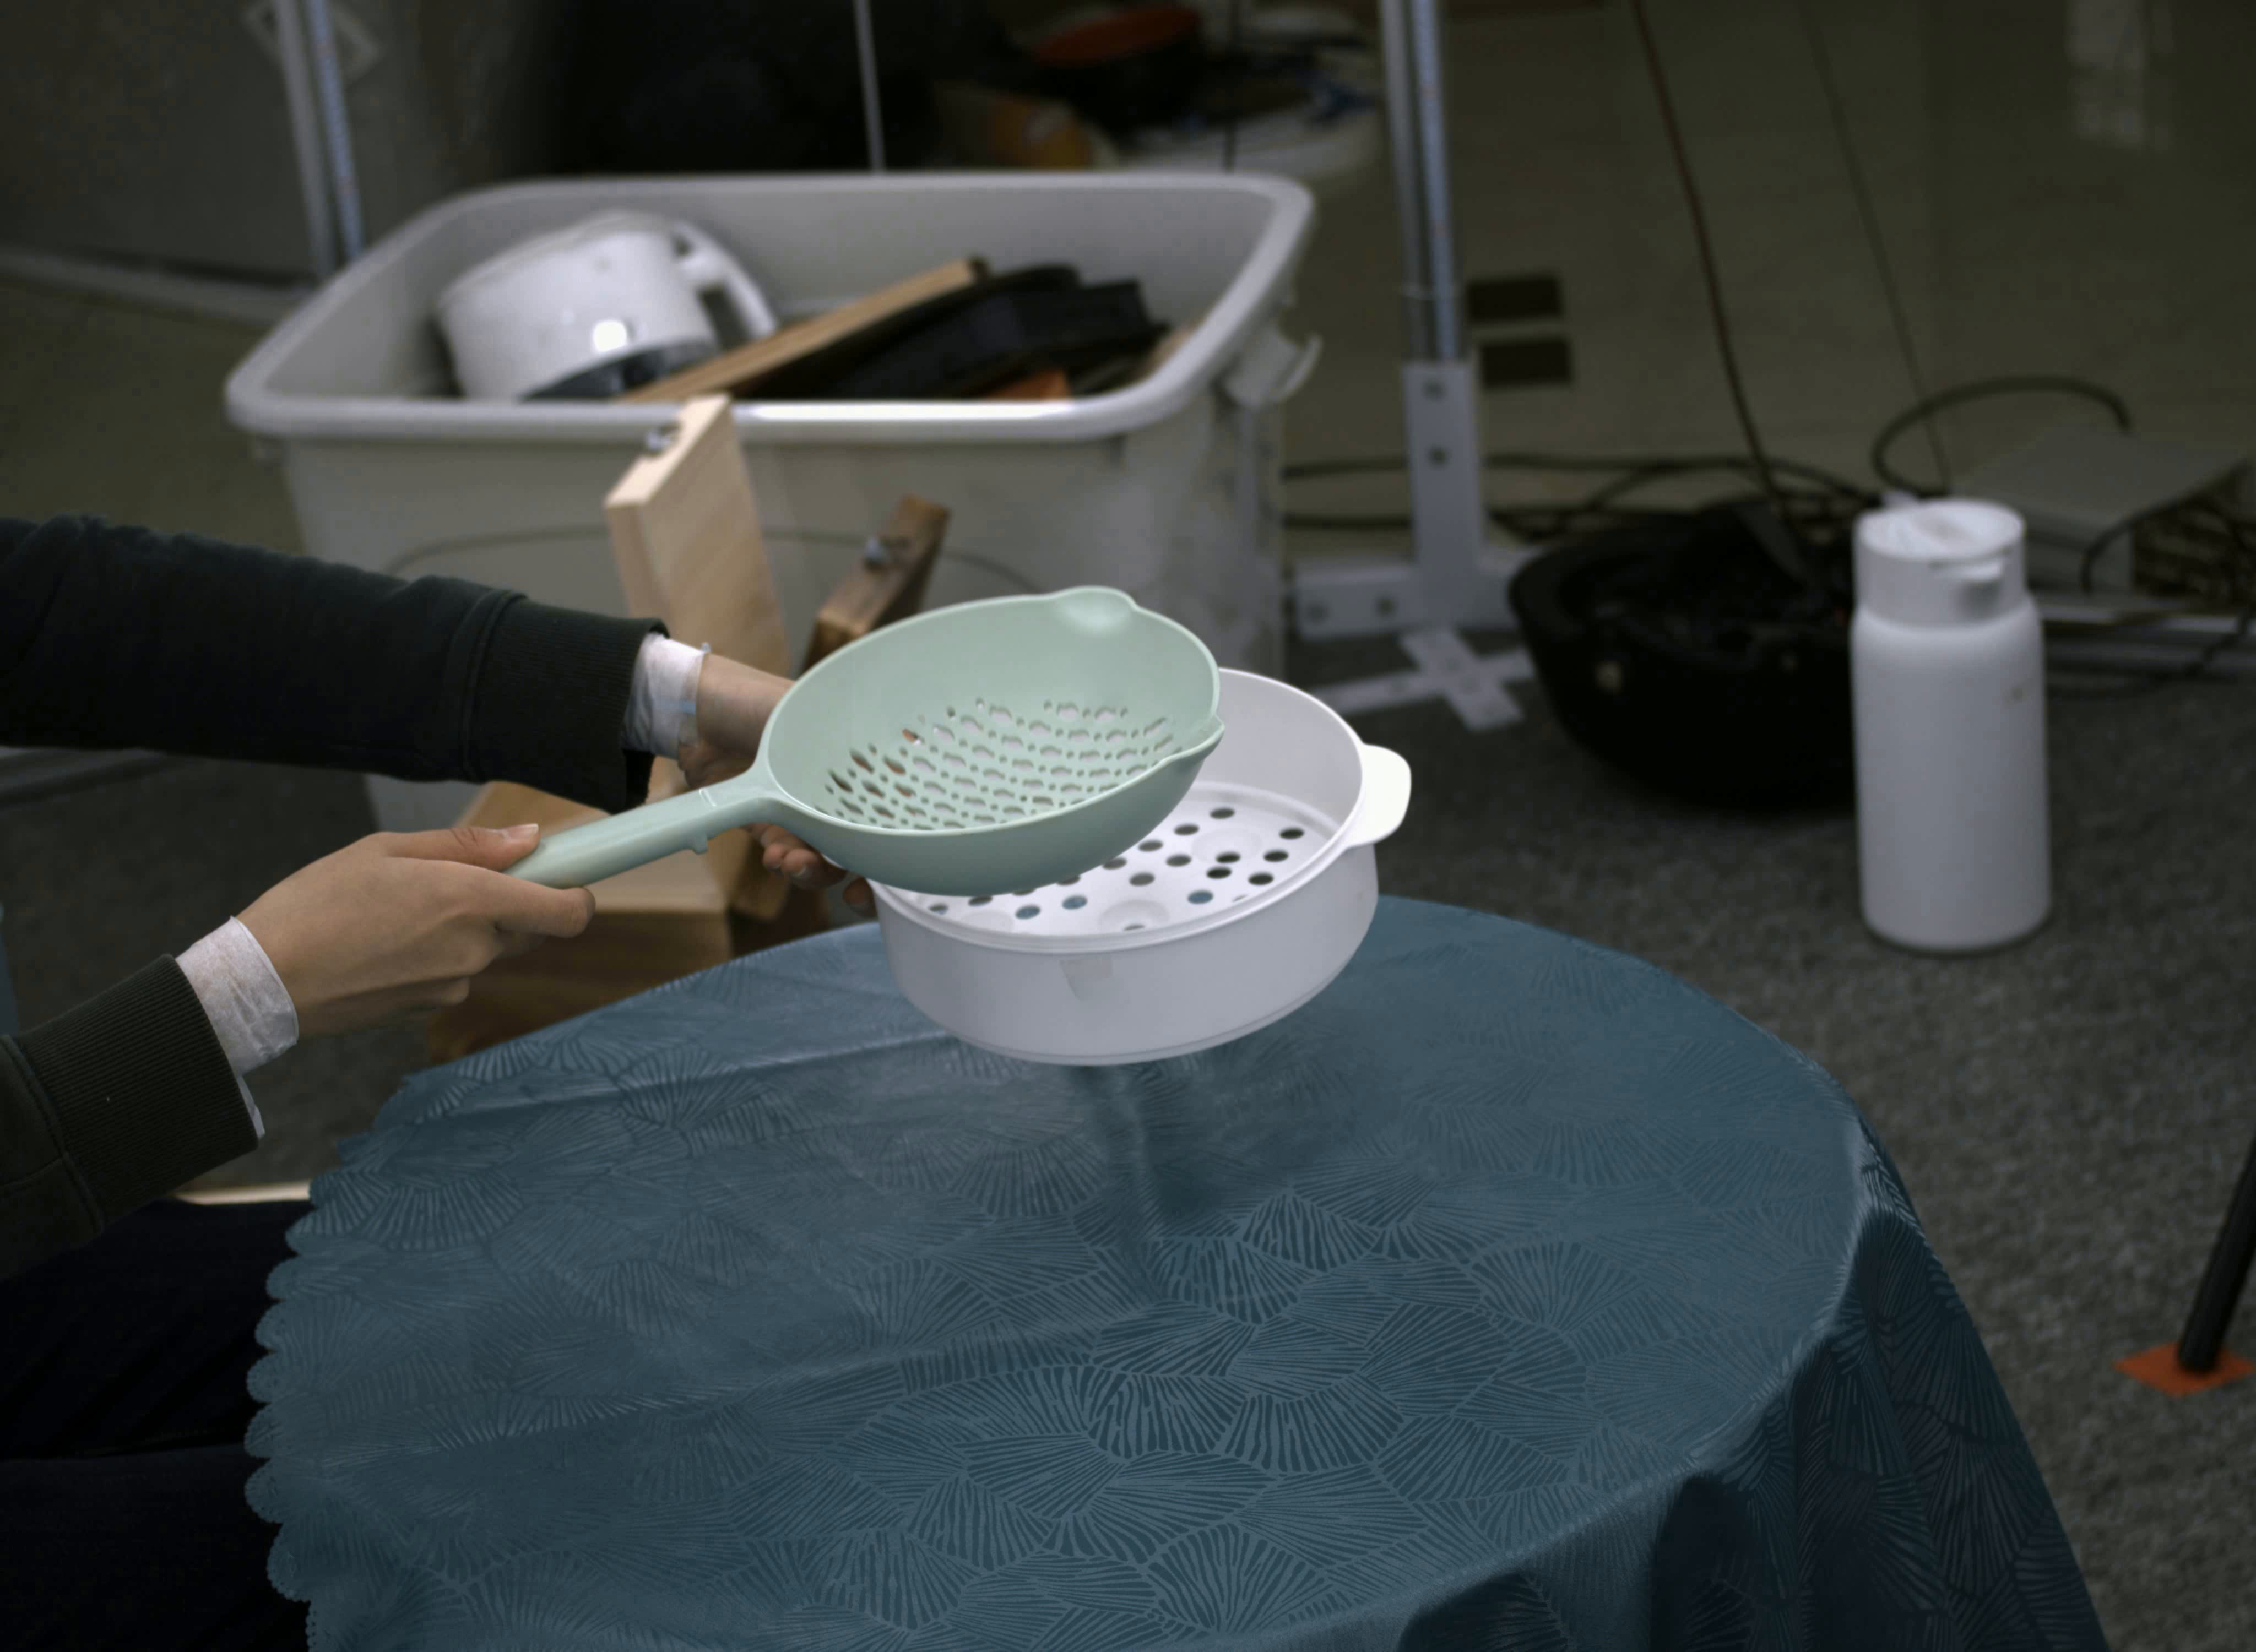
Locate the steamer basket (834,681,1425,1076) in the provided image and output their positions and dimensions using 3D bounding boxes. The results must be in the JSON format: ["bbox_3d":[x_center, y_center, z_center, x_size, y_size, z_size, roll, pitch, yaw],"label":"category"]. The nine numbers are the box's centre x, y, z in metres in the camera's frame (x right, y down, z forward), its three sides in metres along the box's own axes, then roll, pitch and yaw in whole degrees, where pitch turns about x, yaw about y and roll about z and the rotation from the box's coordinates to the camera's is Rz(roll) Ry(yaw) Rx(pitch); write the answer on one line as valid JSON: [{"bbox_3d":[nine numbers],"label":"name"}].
[{"bbox_3d":[0.004,0.020,2.191,0.230,0.070,0.198,-4,31,10],"label":"steamer basket"}]

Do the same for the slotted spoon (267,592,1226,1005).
[{"bbox_3d":[-0.139,-0.001,2.058,0.358,0.076,0.167,-10,28,-15],"label":"slotted spoon"}]
